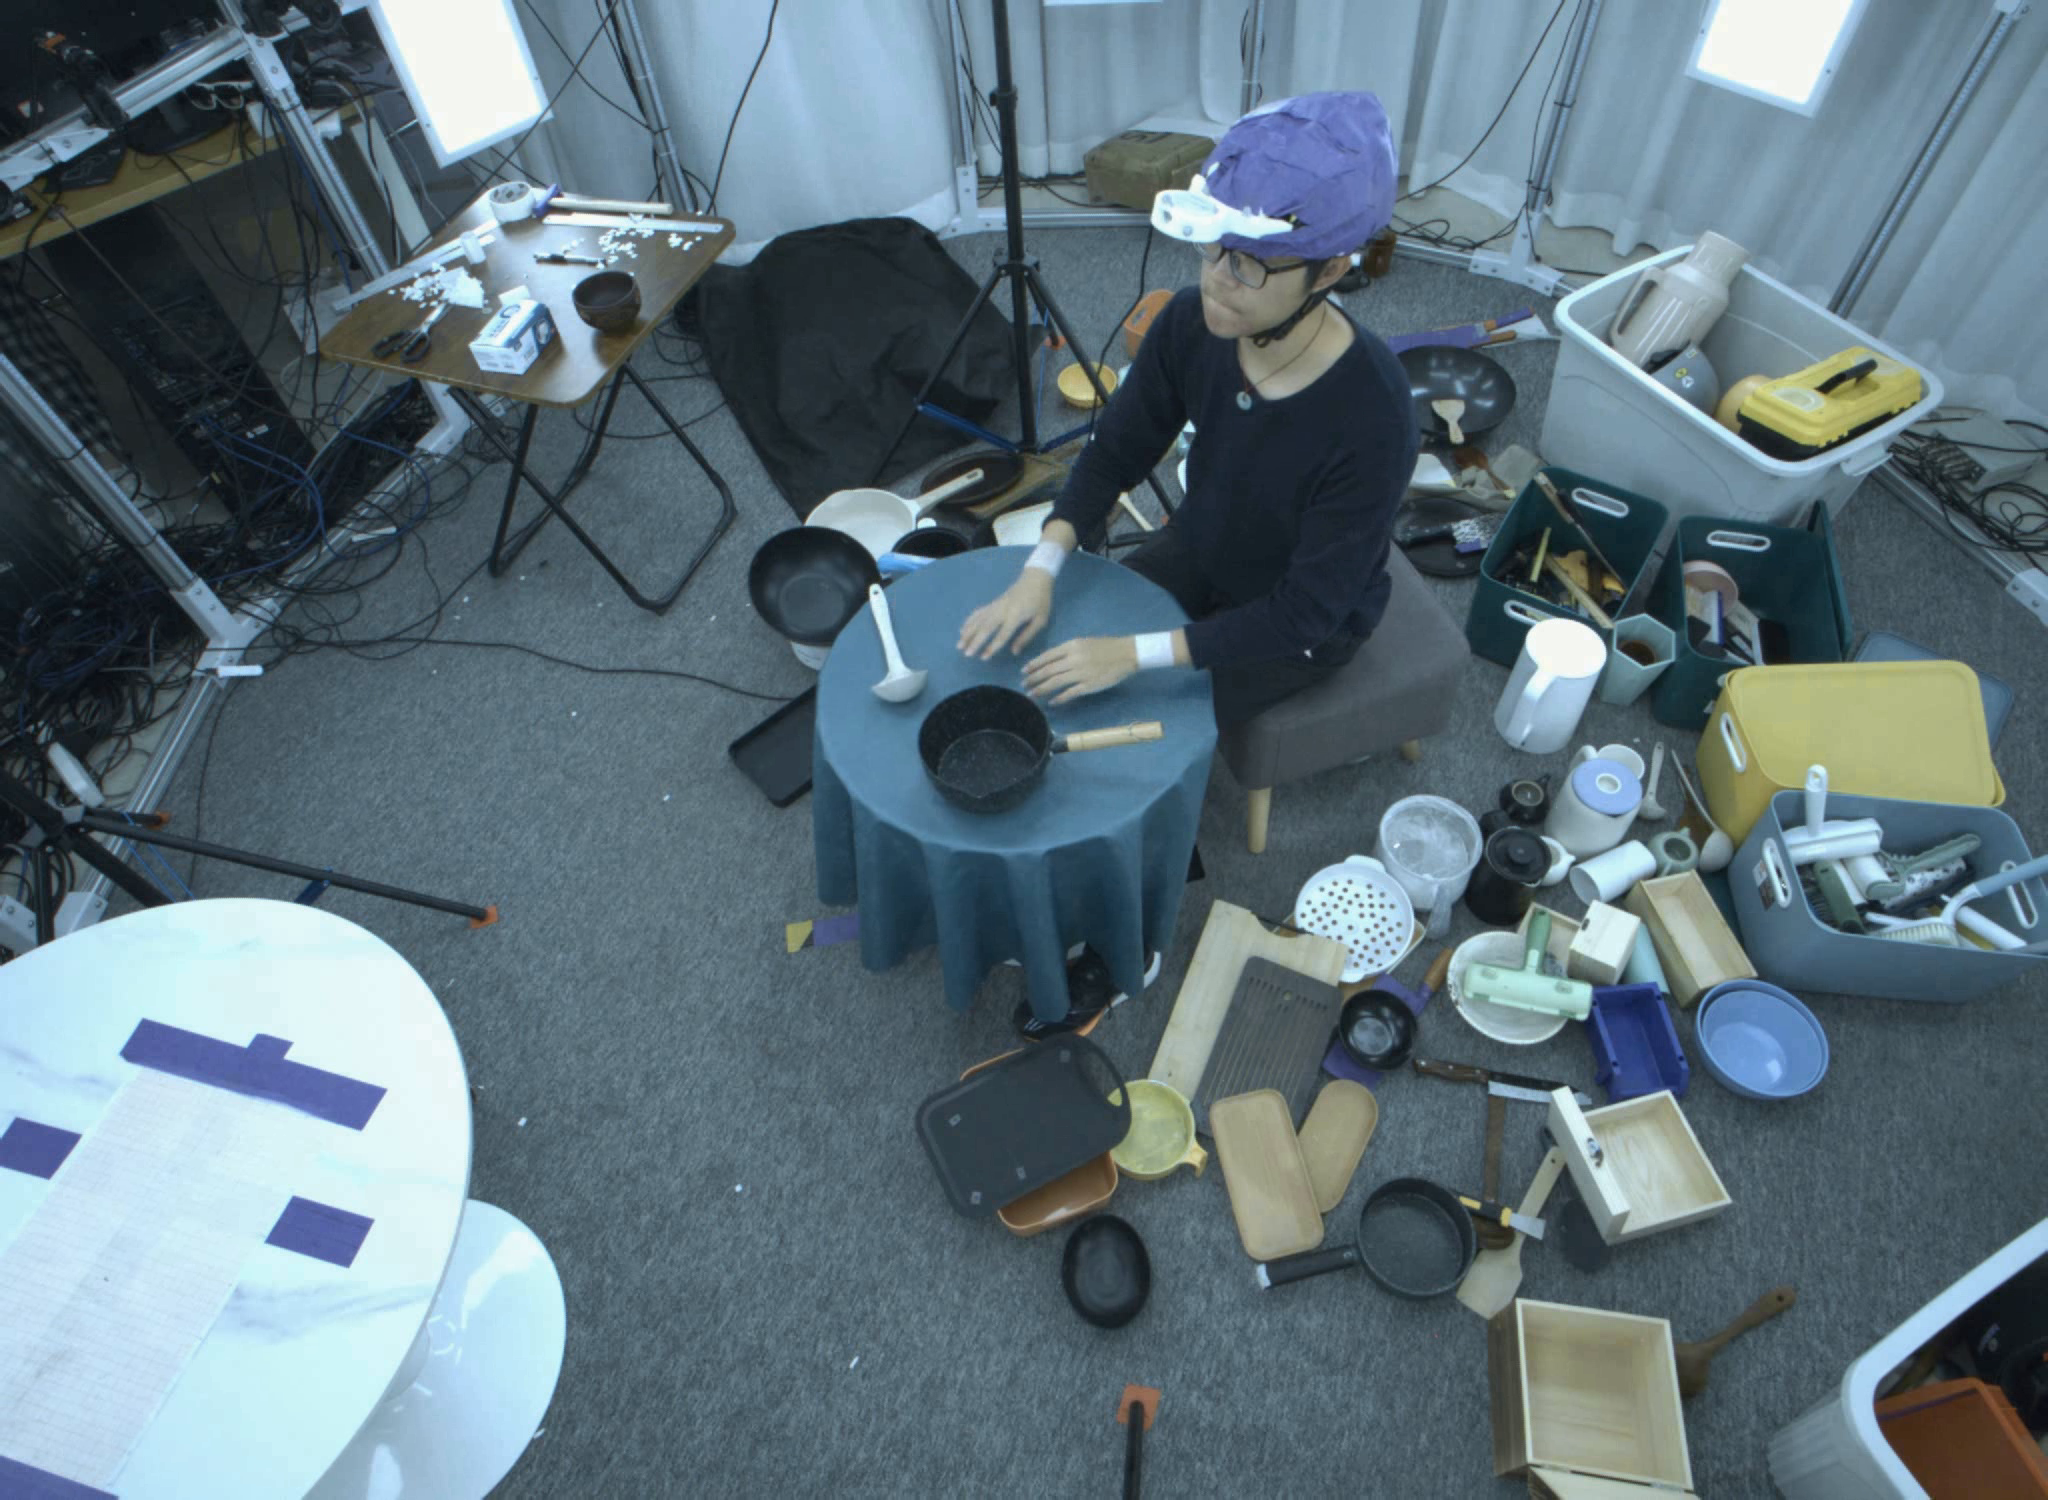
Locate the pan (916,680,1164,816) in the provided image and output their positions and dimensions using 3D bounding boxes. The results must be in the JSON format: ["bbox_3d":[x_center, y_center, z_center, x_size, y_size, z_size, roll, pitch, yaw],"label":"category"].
[{"bbox_3d":[0.024,-0.002,1.721,0.342,0.109,0.205,-2,54,3],"label":"pan"}]

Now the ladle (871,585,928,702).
[{"bbox_3d":[-0.213,-0.183,1.888,0.089,0.070,0.270,-19,53,1],"label":"ladle"}]
